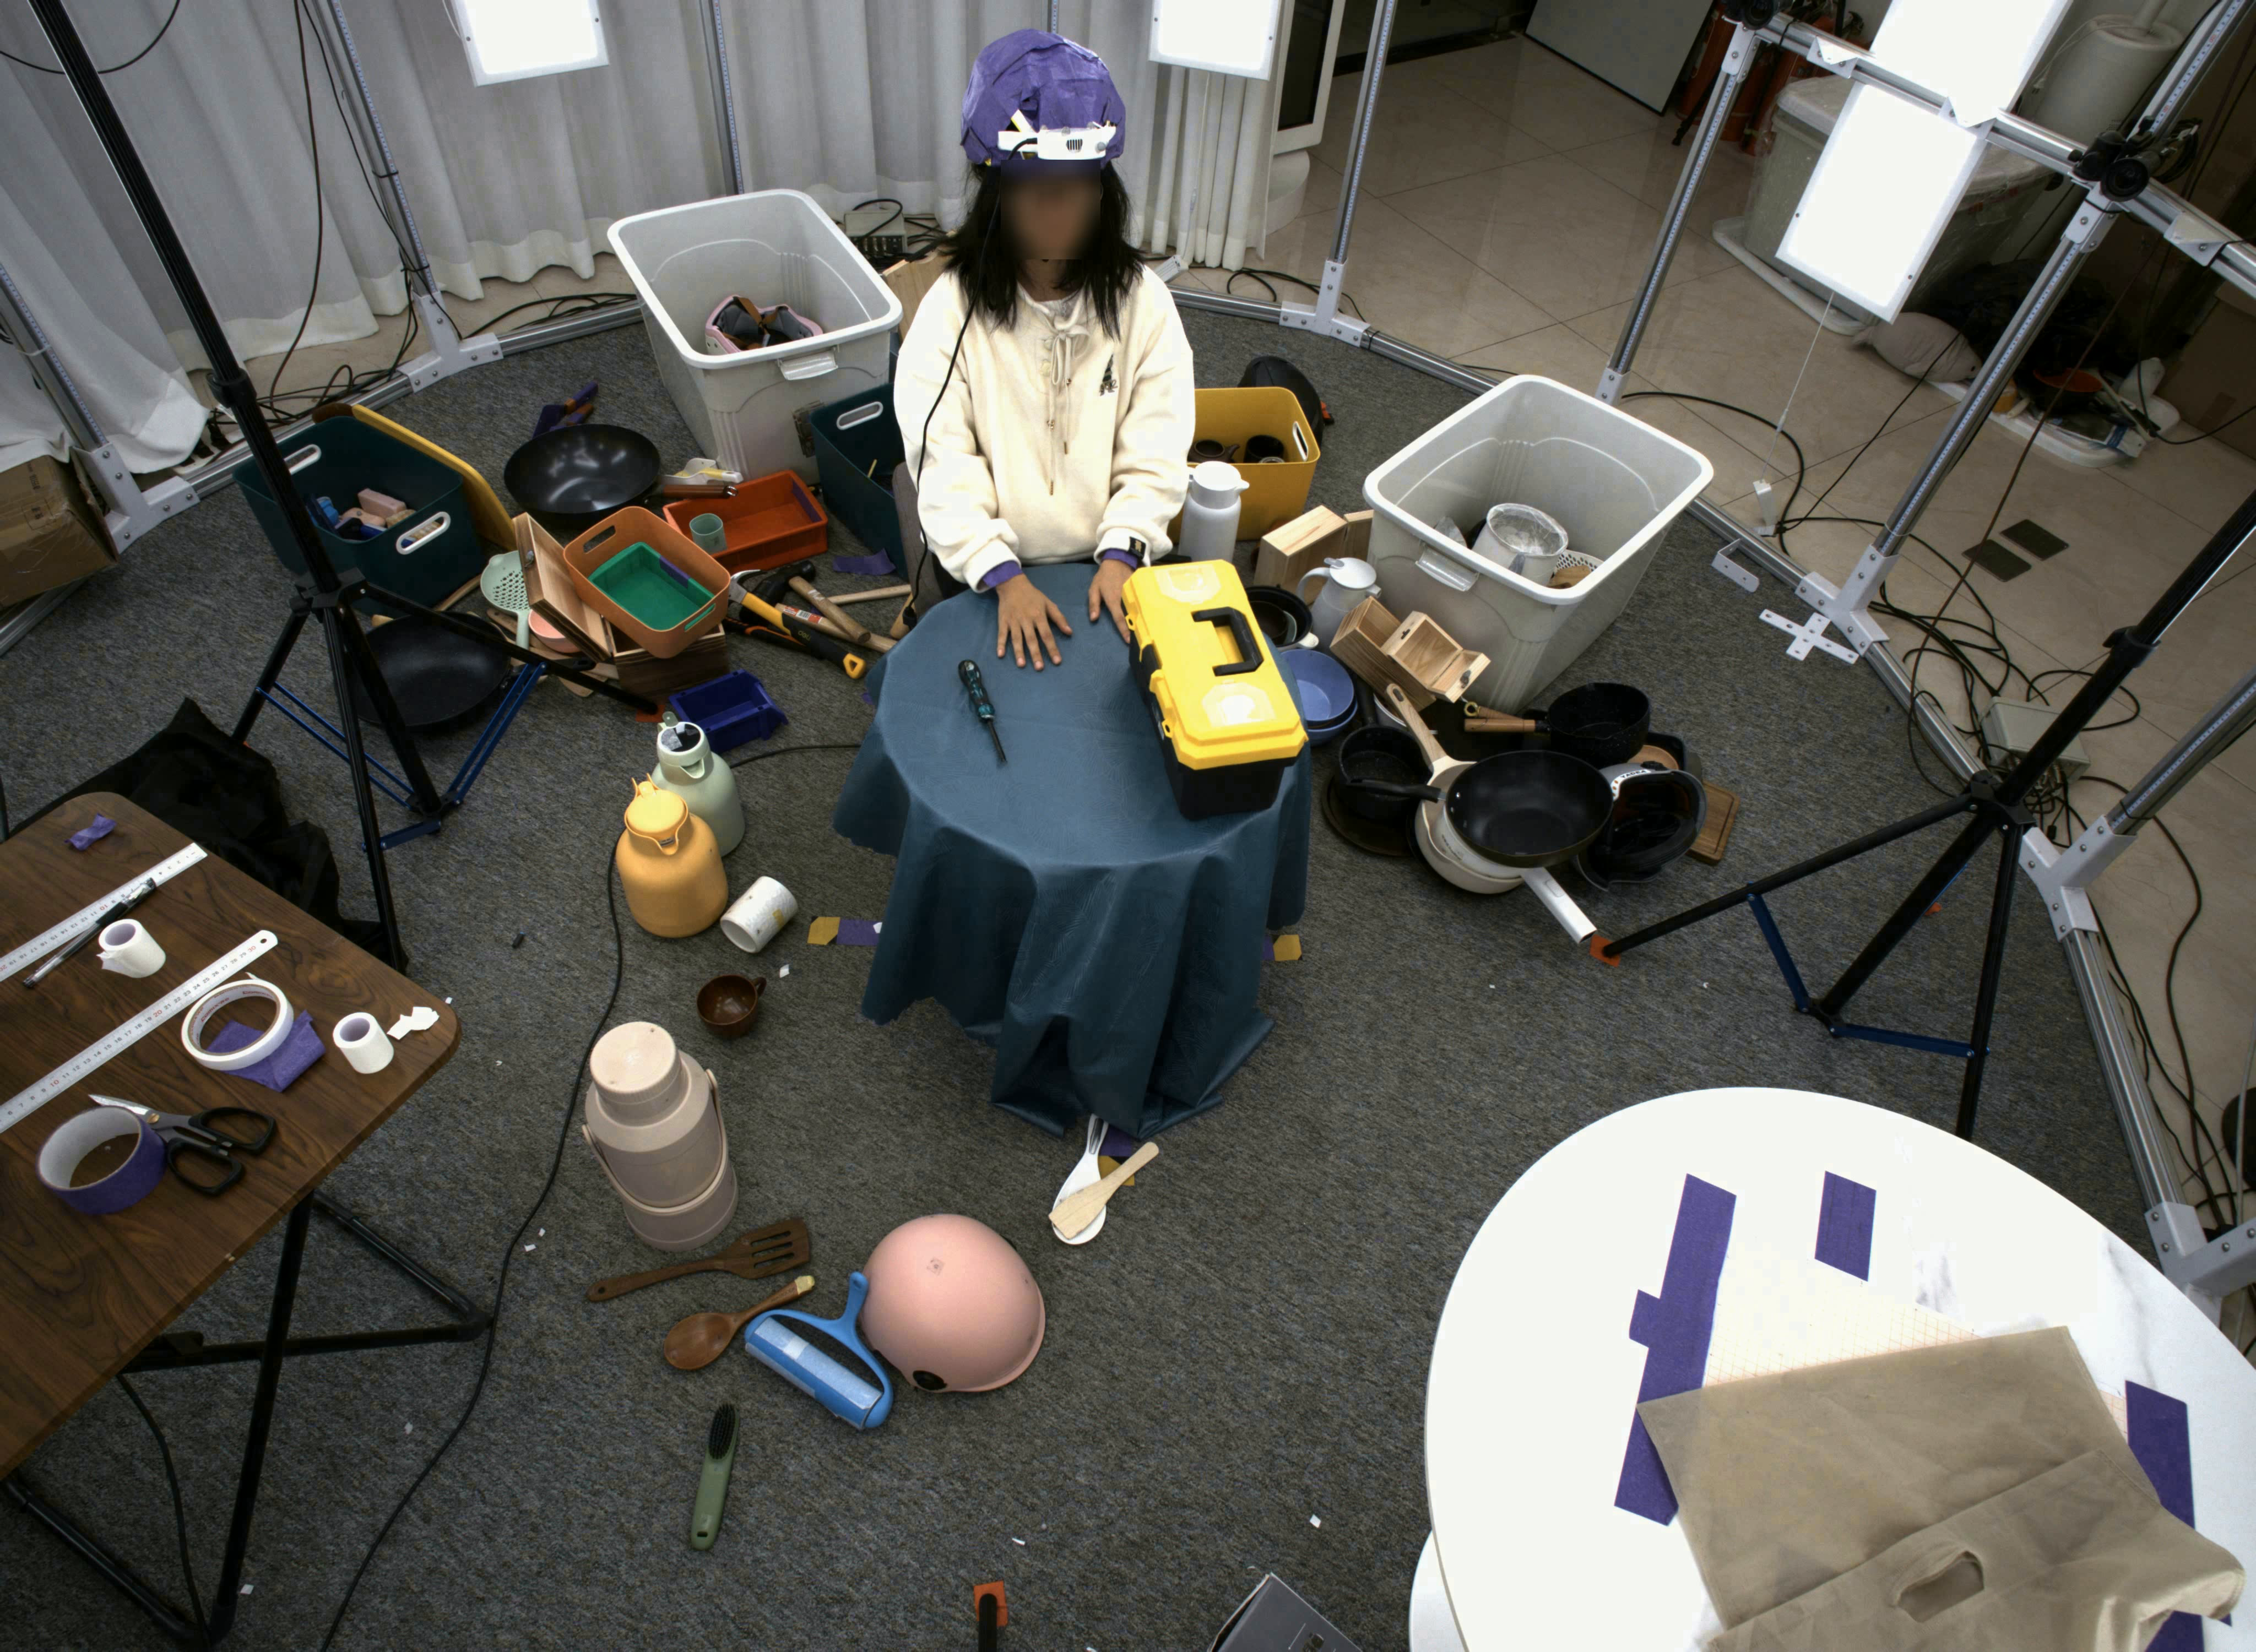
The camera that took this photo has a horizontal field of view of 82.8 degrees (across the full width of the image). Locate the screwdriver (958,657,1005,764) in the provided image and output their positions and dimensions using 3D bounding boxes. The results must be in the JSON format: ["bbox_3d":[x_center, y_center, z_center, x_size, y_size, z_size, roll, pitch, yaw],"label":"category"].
[{"bbox_3d":[-0.199,-0.159,1.781,0.034,0.033,0.194,-13,56,-15],"label":"screwdriver"}]

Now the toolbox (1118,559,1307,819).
[{"bbox_3d":[0.104,-0.187,1.727,0.181,0.168,0.360,-7,50,-10],"label":"toolbox"}]
